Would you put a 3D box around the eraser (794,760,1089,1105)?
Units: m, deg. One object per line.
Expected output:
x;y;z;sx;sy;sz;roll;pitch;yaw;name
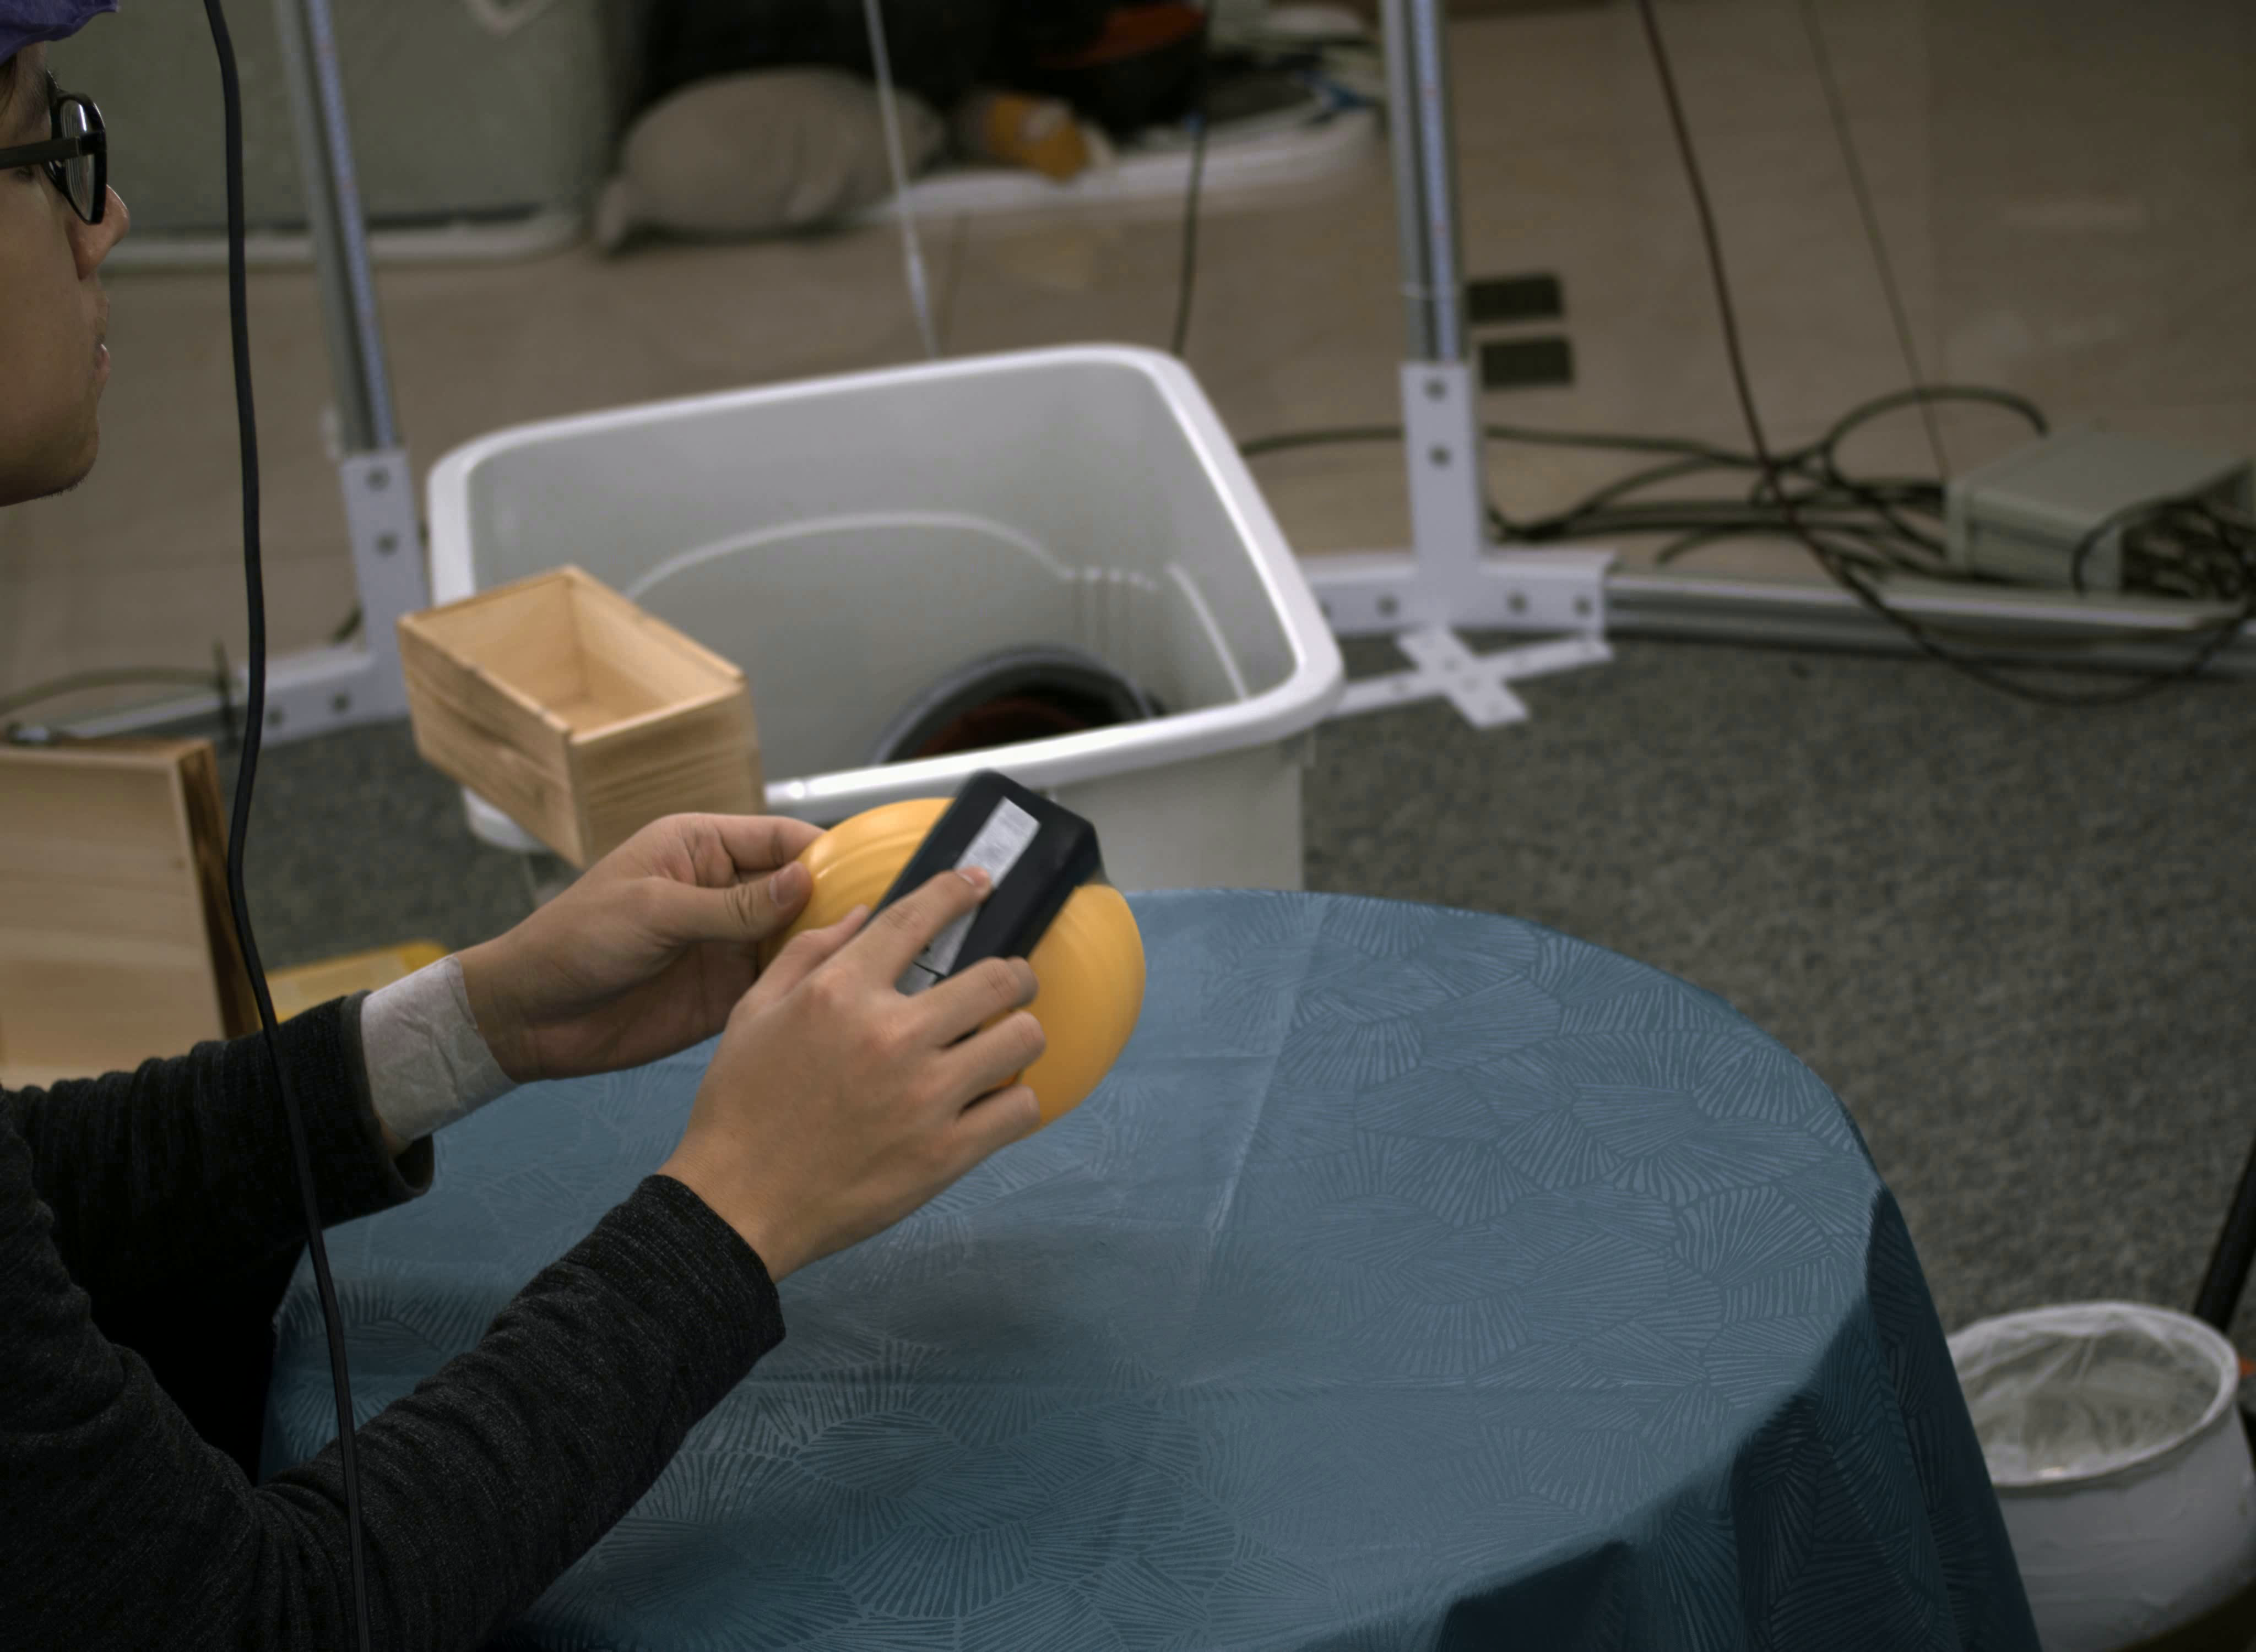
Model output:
-0.065;0.036;2.005;0.053;0.031;0.124;24;64;16;eraser

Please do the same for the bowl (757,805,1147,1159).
-0.067;0.068;2.063;0.145;0.148;0.059;-3;30;6;bowl
